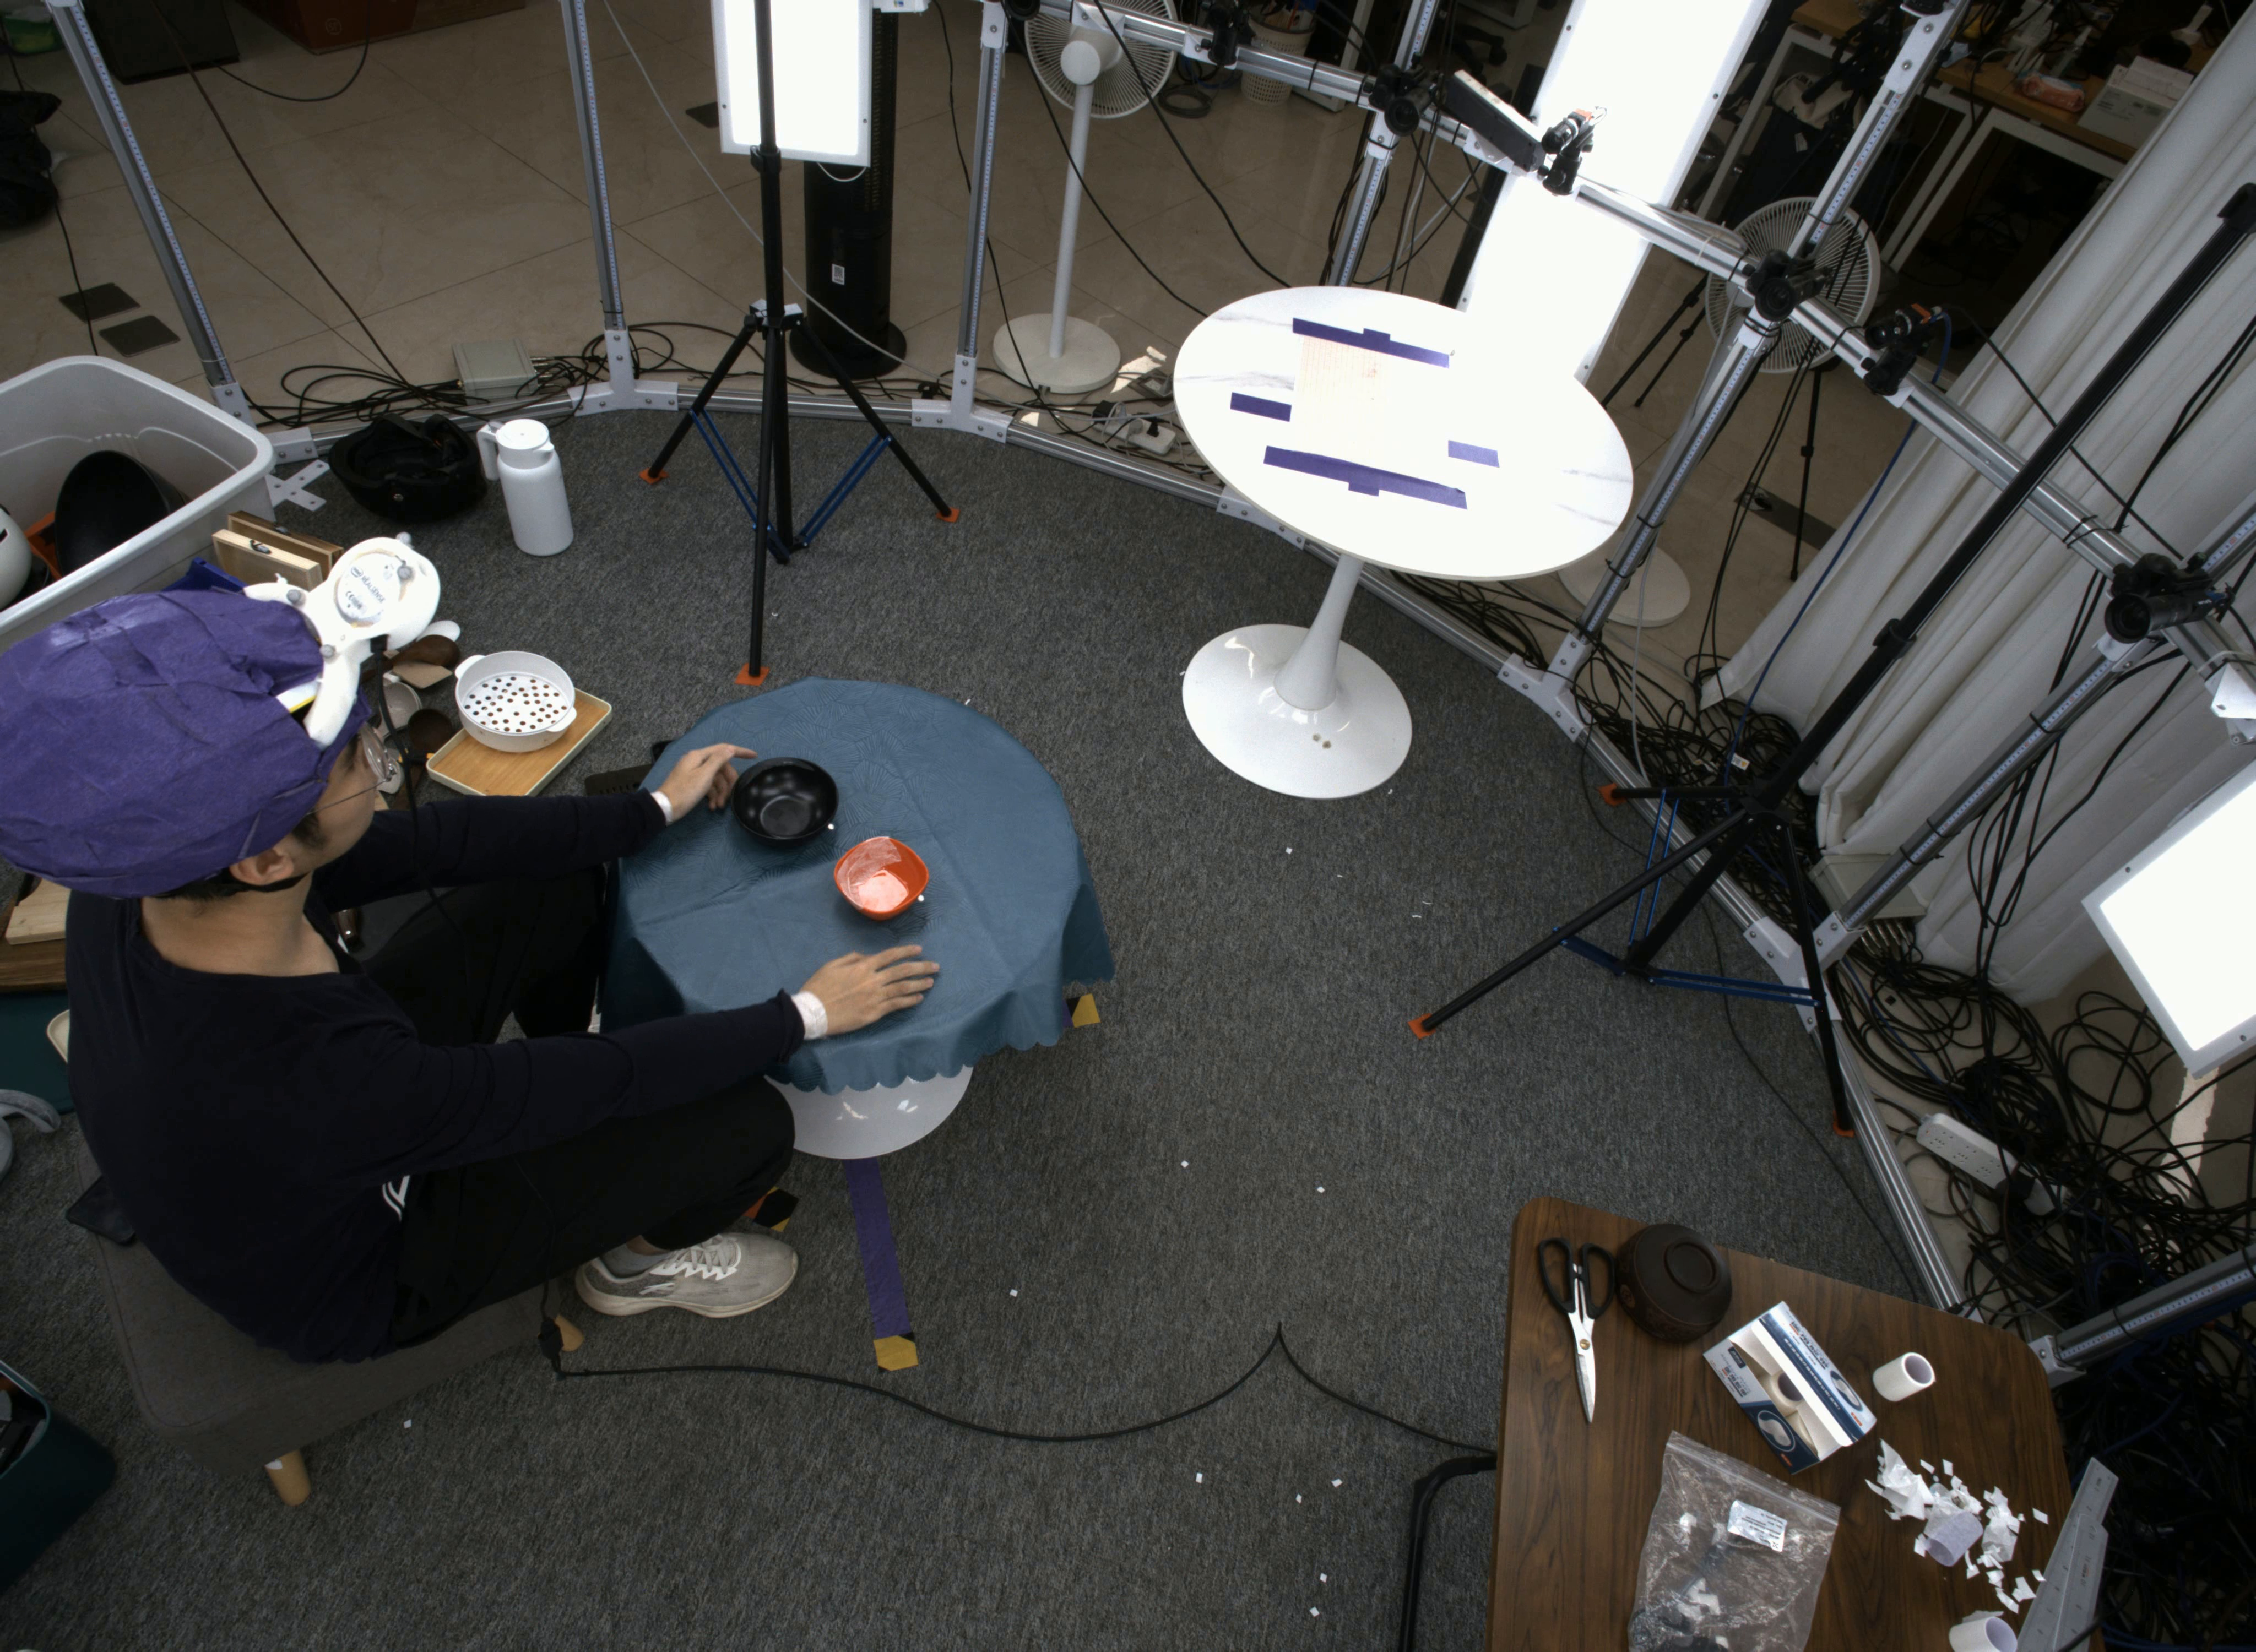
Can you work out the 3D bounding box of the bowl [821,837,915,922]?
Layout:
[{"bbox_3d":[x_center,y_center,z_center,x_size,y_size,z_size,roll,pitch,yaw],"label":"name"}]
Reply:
[{"bbox_3d":[-0.334,0.076,1.668,0.119,0.052,0.117,9,51,-10],"label":"bowl"}]

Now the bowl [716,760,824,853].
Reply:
[{"bbox_3d":[-0.470,-0.018,1.709,0.139,0.051,0.138,5,56,-6],"label":"bowl"}]
